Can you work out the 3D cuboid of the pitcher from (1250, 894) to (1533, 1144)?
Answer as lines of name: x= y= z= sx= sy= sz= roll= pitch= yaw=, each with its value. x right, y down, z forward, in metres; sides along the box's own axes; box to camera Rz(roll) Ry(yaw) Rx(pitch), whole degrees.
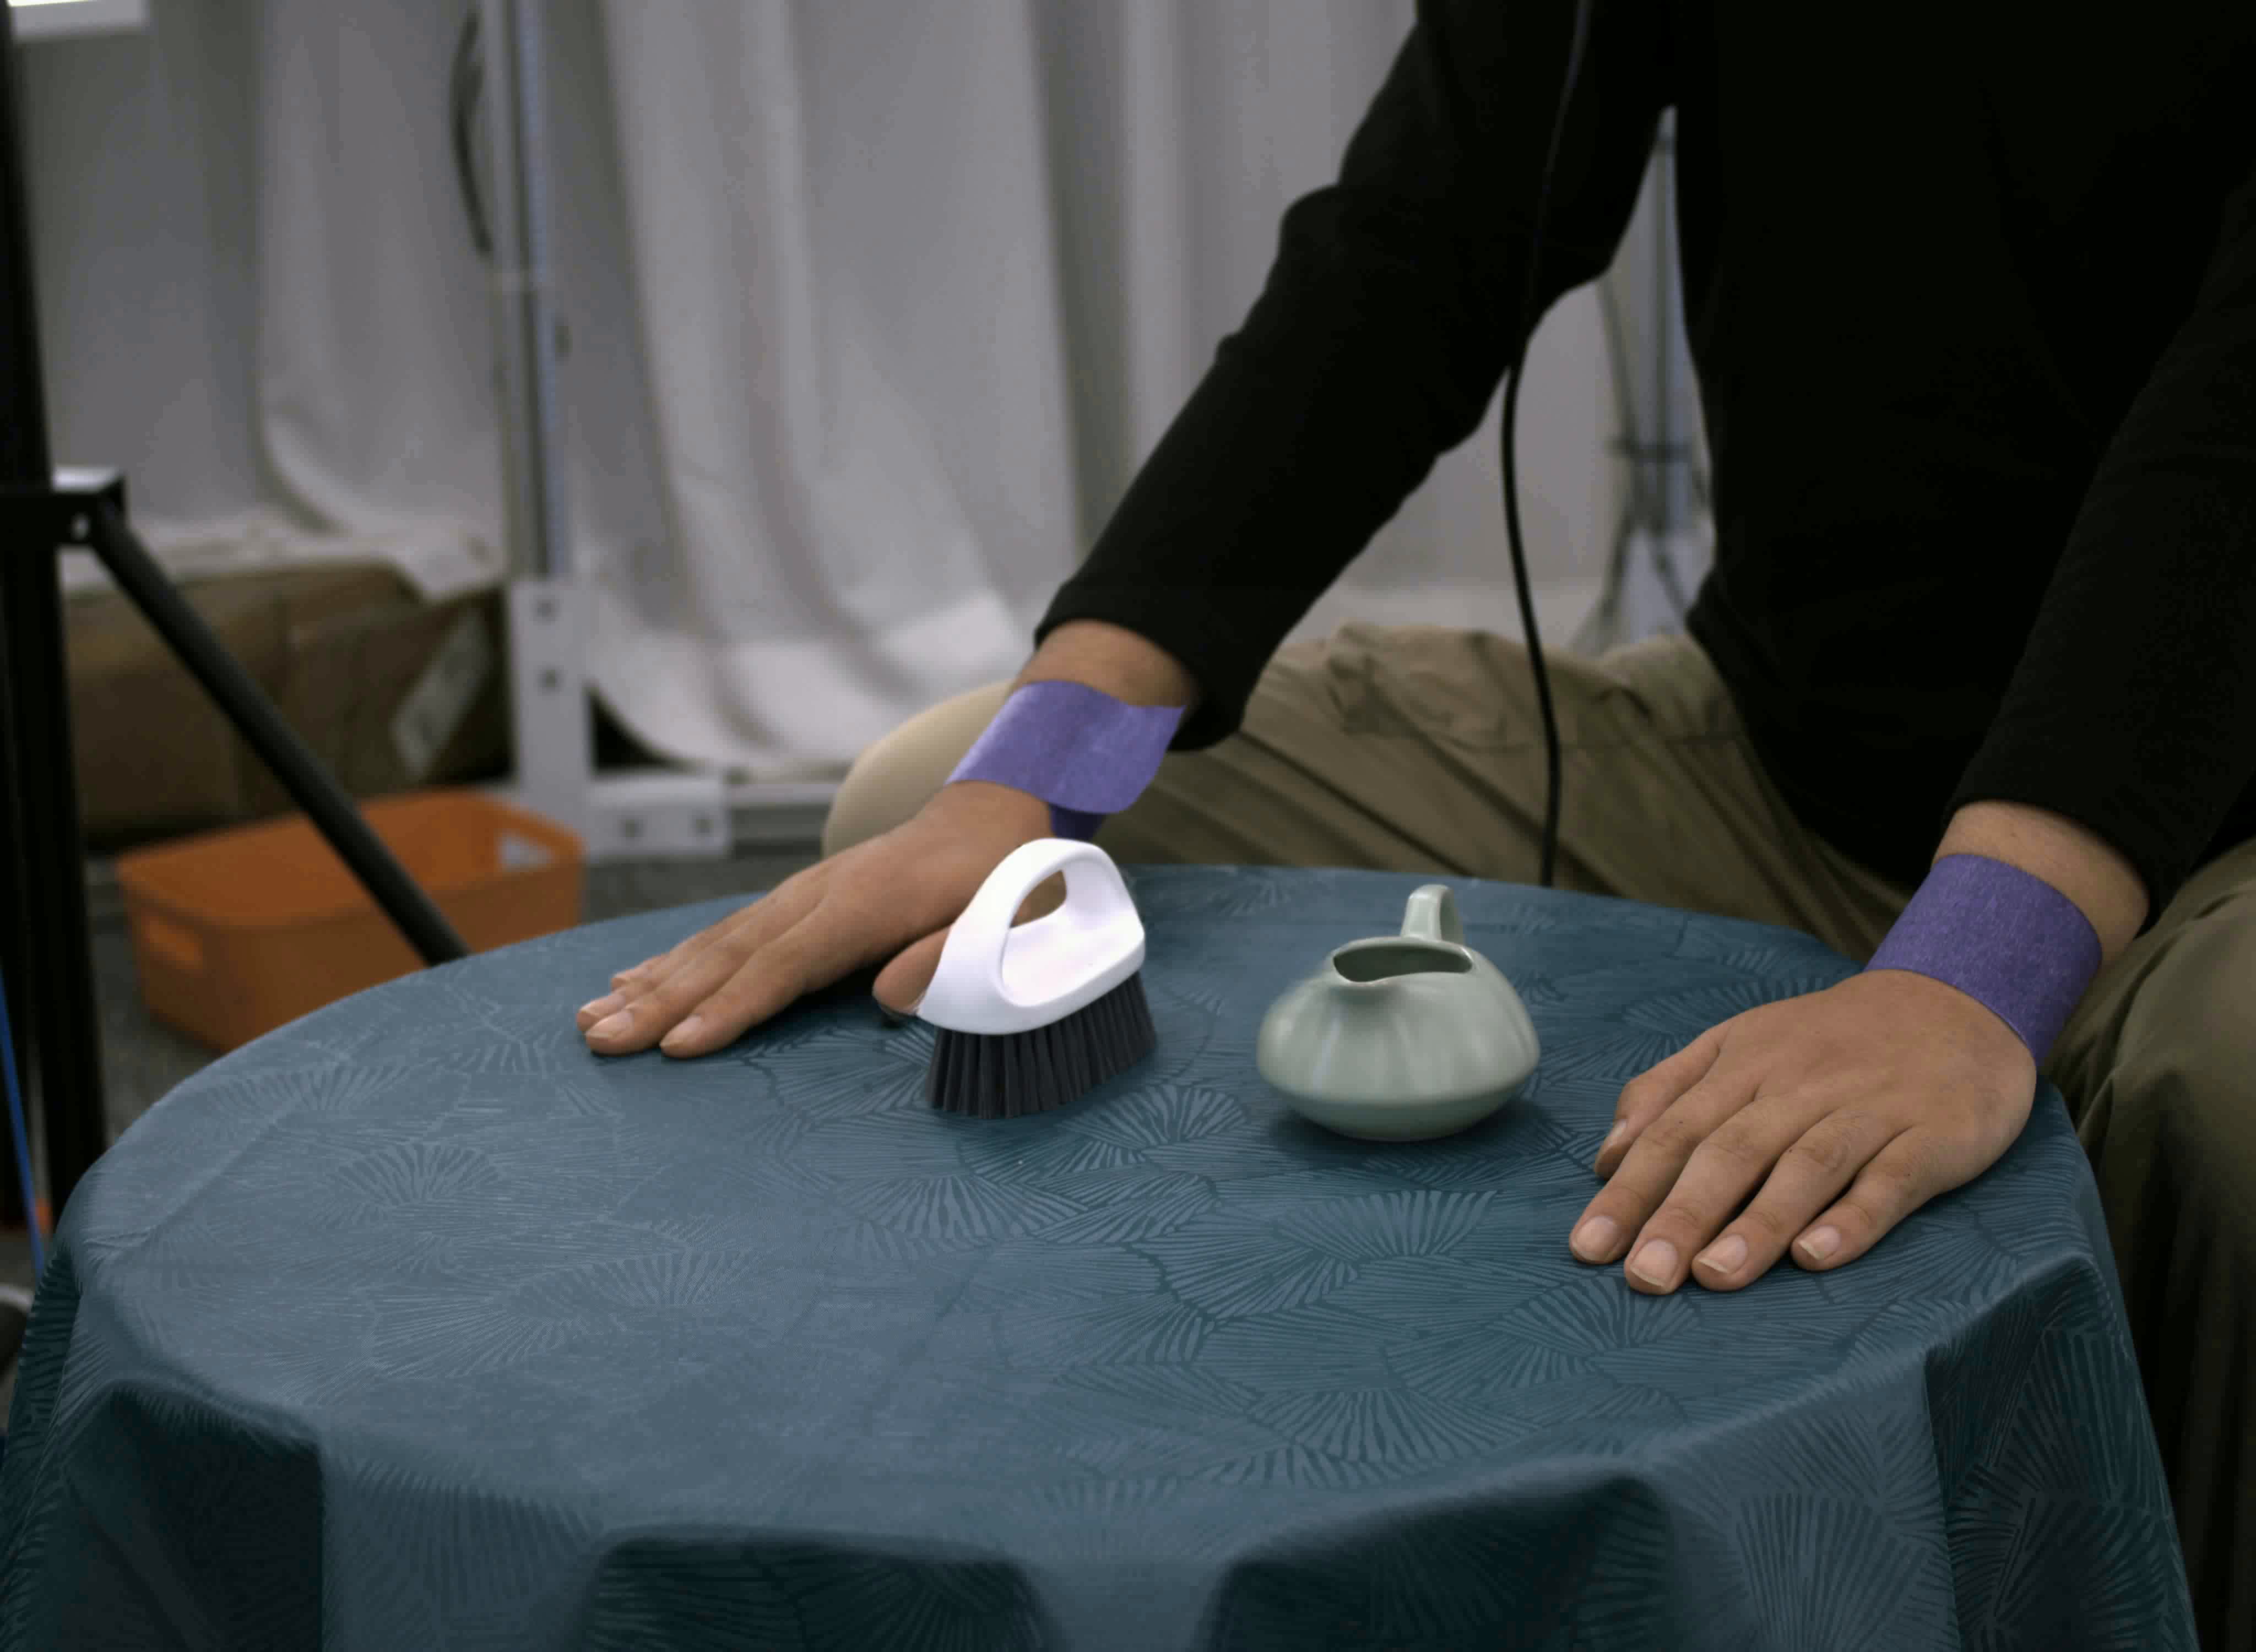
pitcher: x=0.083 y=0.060 z=1.617 sx=0.087 sy=0.060 sz=0.107 roll=2 pitch=13 yaw=15

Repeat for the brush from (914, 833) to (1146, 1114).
brush: x=-0.030 y=0.041 z=1.666 sx=0.051 sy=0.072 sz=0.097 roll=8 pitch=20 yaw=29
